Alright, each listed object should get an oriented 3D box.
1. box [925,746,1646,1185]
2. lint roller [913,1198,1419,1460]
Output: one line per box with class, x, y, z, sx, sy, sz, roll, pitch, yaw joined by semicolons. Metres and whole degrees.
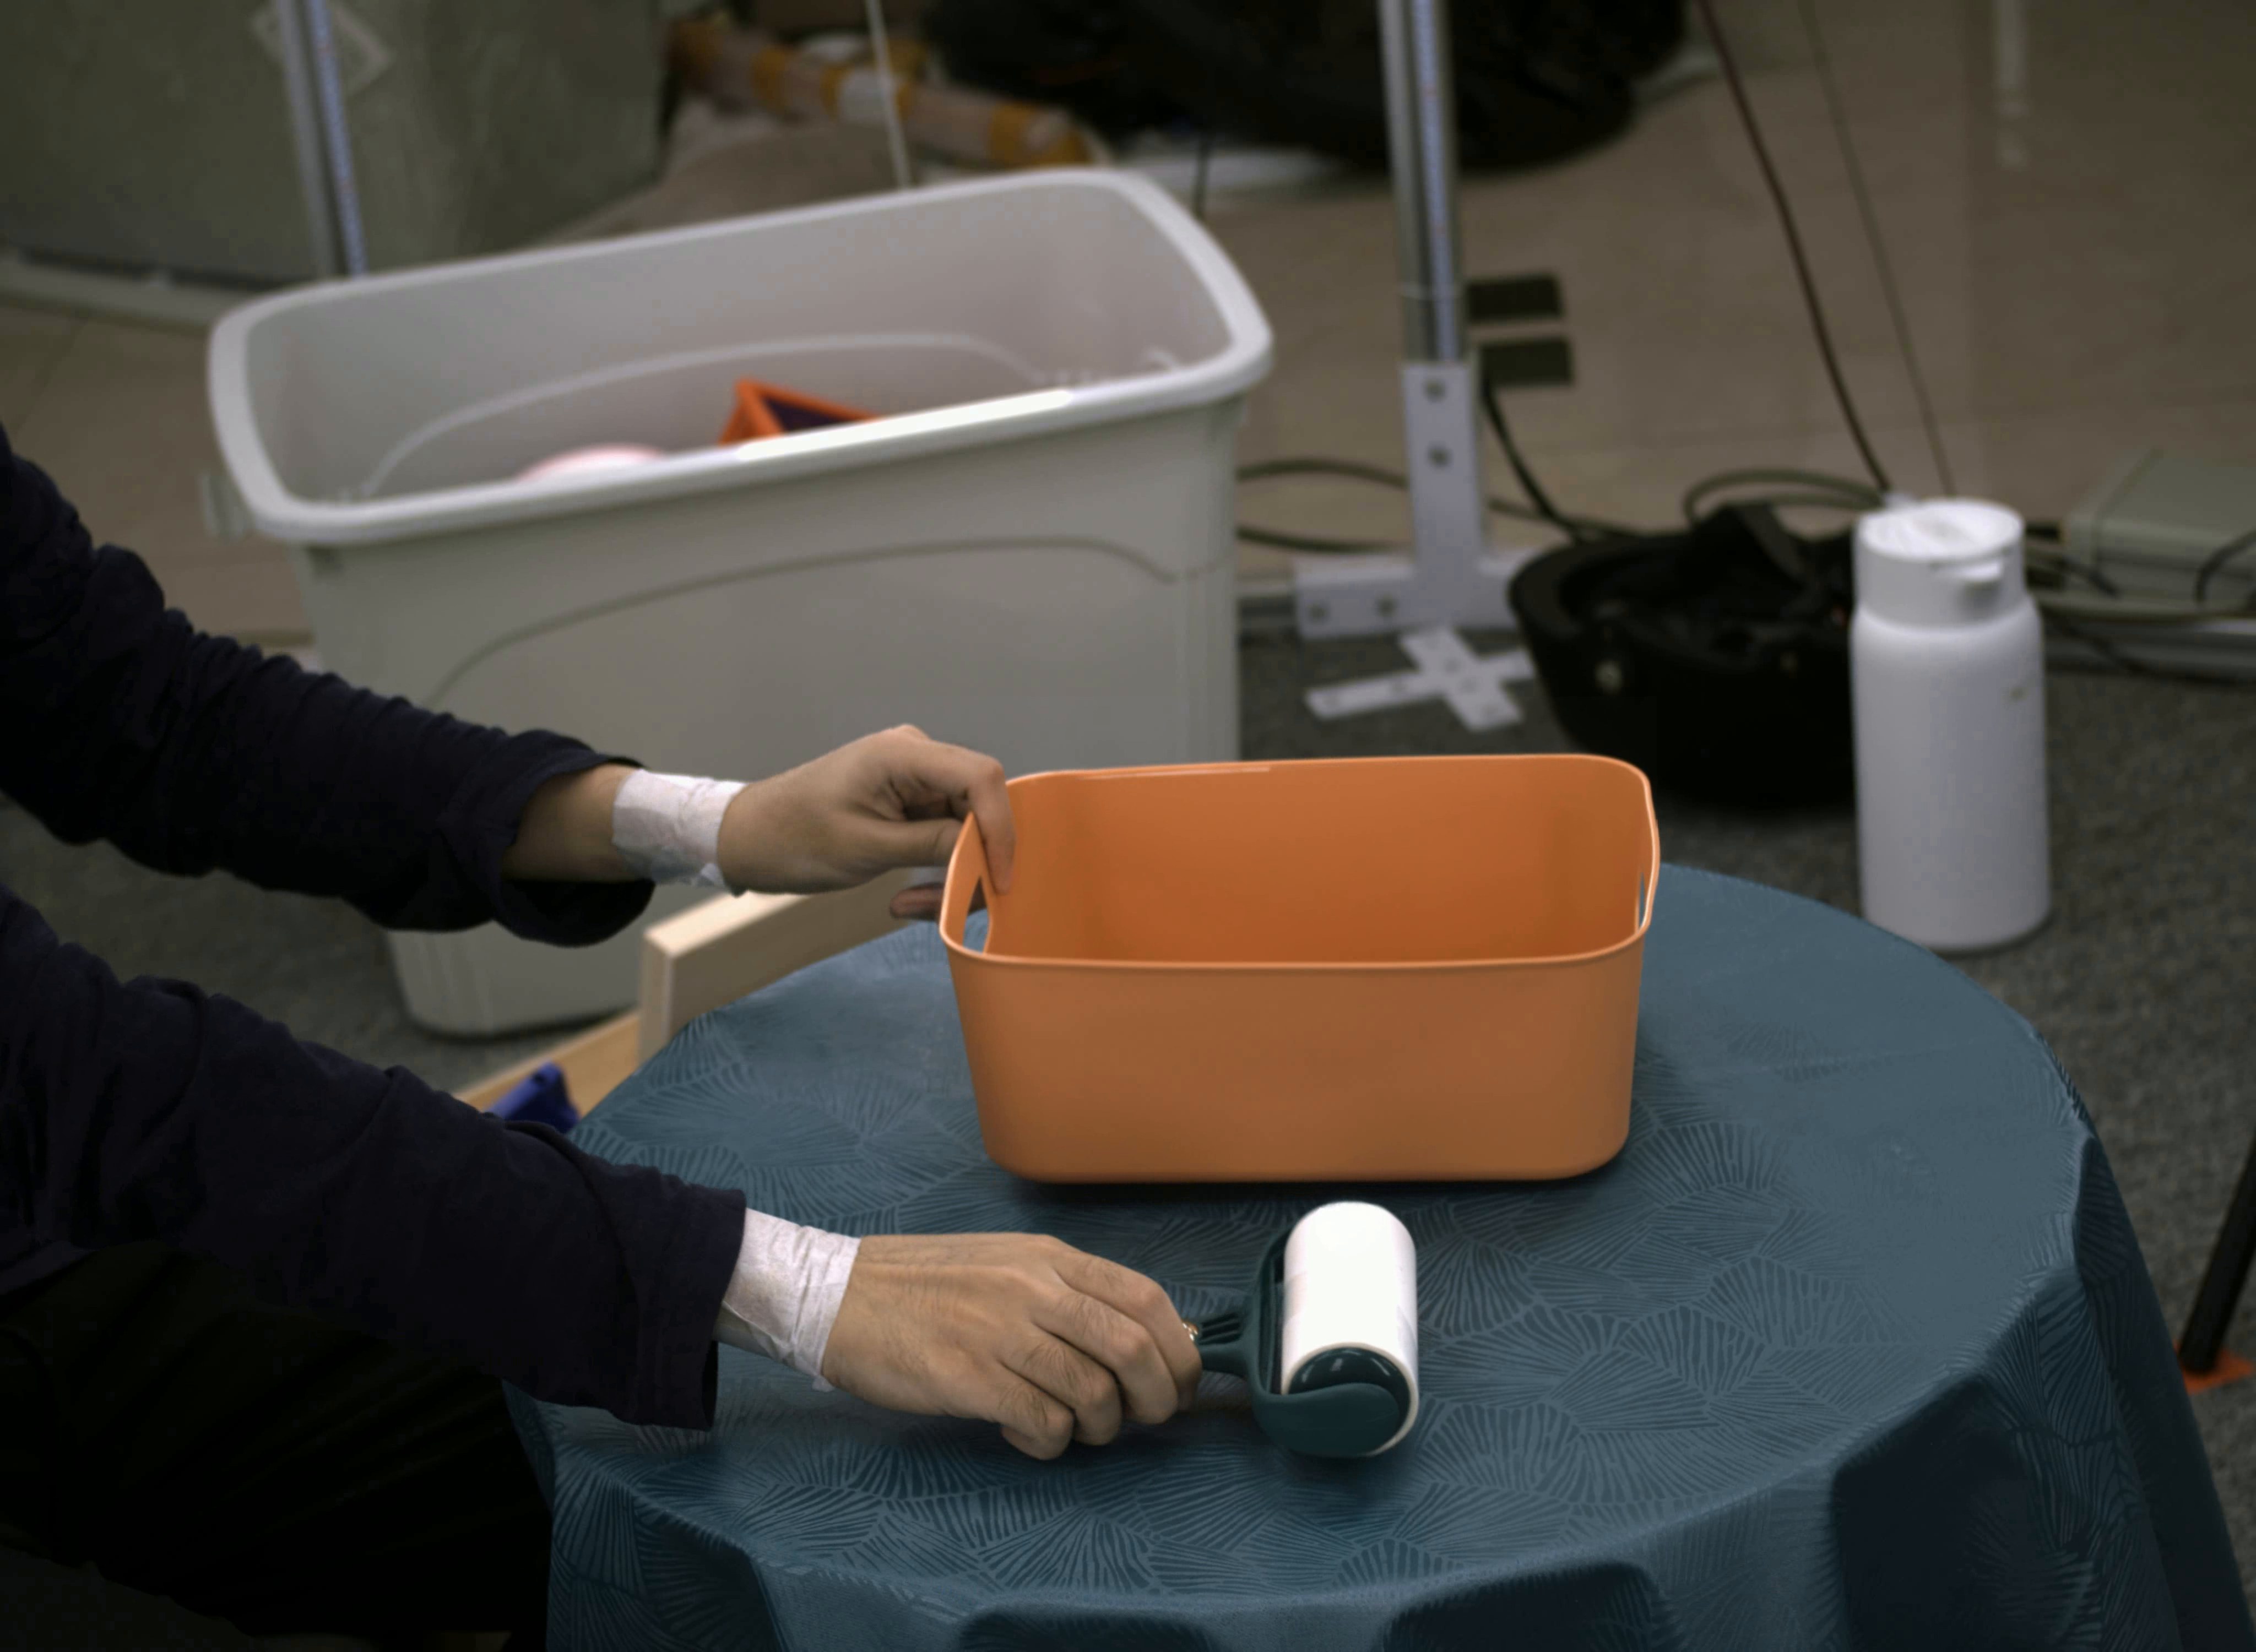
box;0.066;0.055;2.176;0.273;0.104;0.196;-2;23;7
lint roller;0.012;0.181;1.990;0.180;0.049;0.132;-4;25;4
